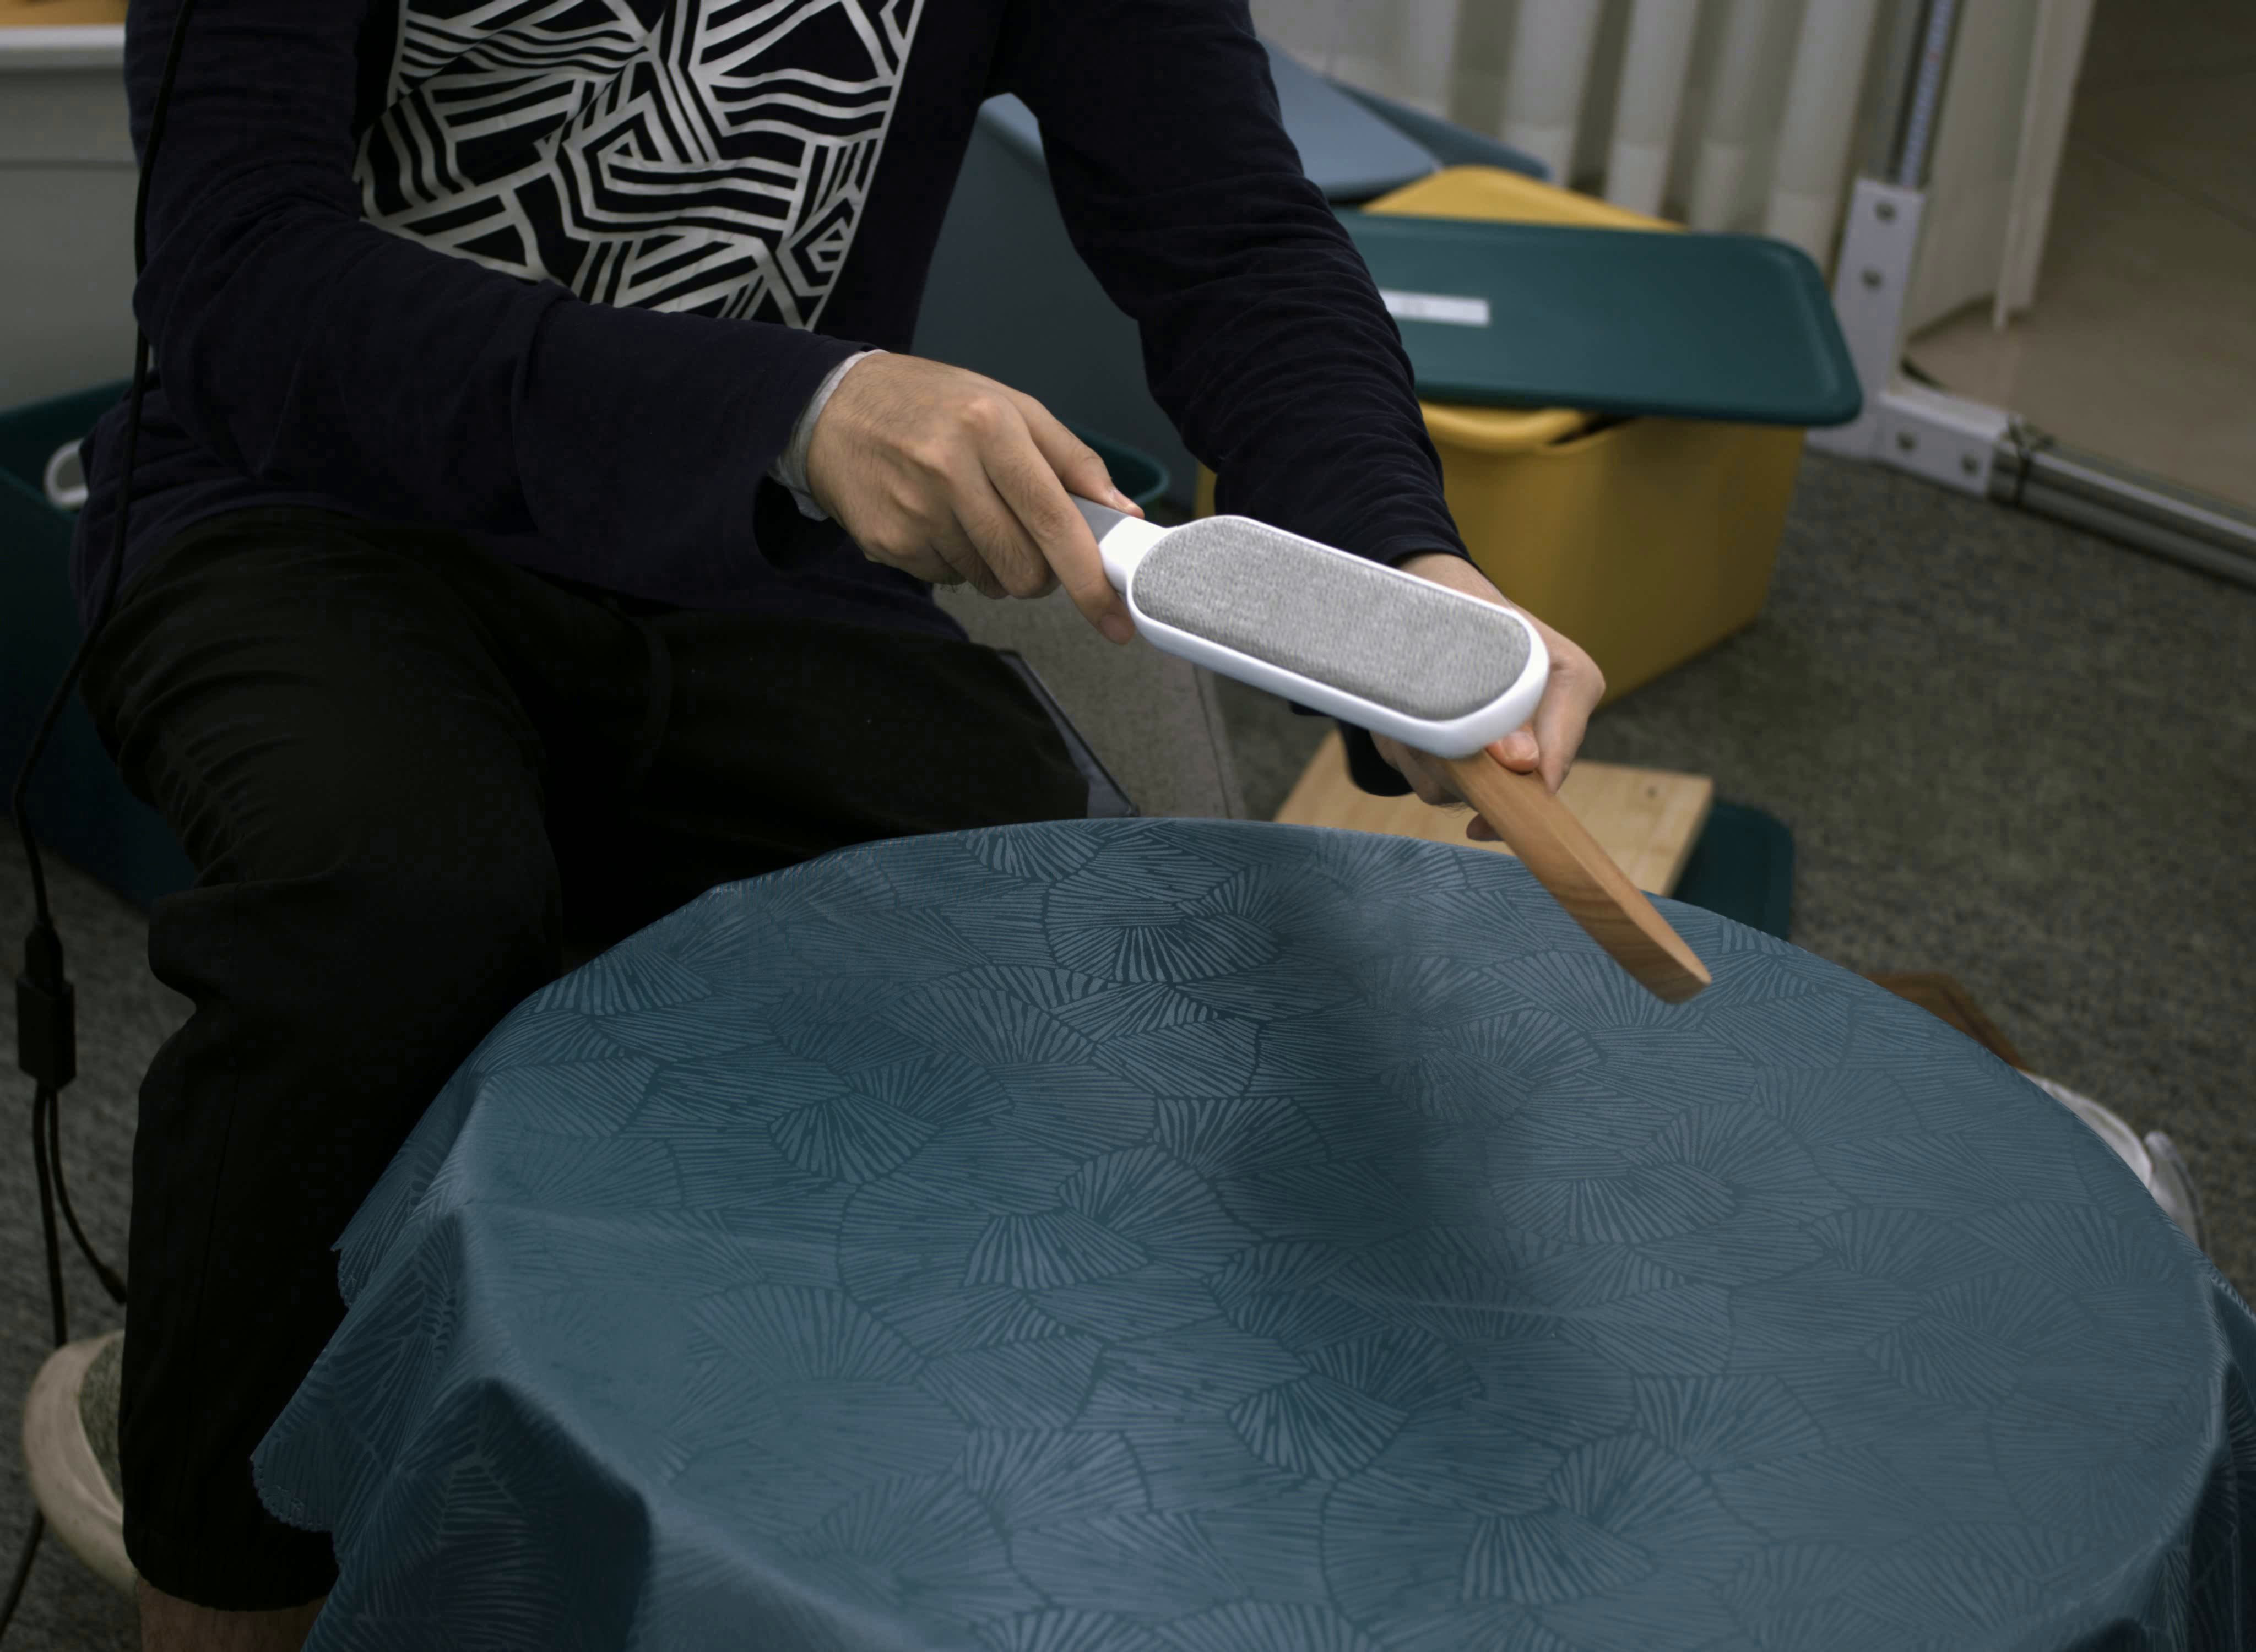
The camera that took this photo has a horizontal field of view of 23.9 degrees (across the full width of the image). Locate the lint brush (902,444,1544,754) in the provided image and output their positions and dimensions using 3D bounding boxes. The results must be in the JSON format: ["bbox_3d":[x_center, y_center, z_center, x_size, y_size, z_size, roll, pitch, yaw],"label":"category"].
[{"bbox_3d":[0.026,-0.086,1.833,0.311,0.021,0.060,23,67,44],"label":"lint brush"}]

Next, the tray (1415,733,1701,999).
[{"bbox_3d":[0.123,-0.016,1.797,0.101,0.020,0.233,43,6,-40],"label":"tray"}]
